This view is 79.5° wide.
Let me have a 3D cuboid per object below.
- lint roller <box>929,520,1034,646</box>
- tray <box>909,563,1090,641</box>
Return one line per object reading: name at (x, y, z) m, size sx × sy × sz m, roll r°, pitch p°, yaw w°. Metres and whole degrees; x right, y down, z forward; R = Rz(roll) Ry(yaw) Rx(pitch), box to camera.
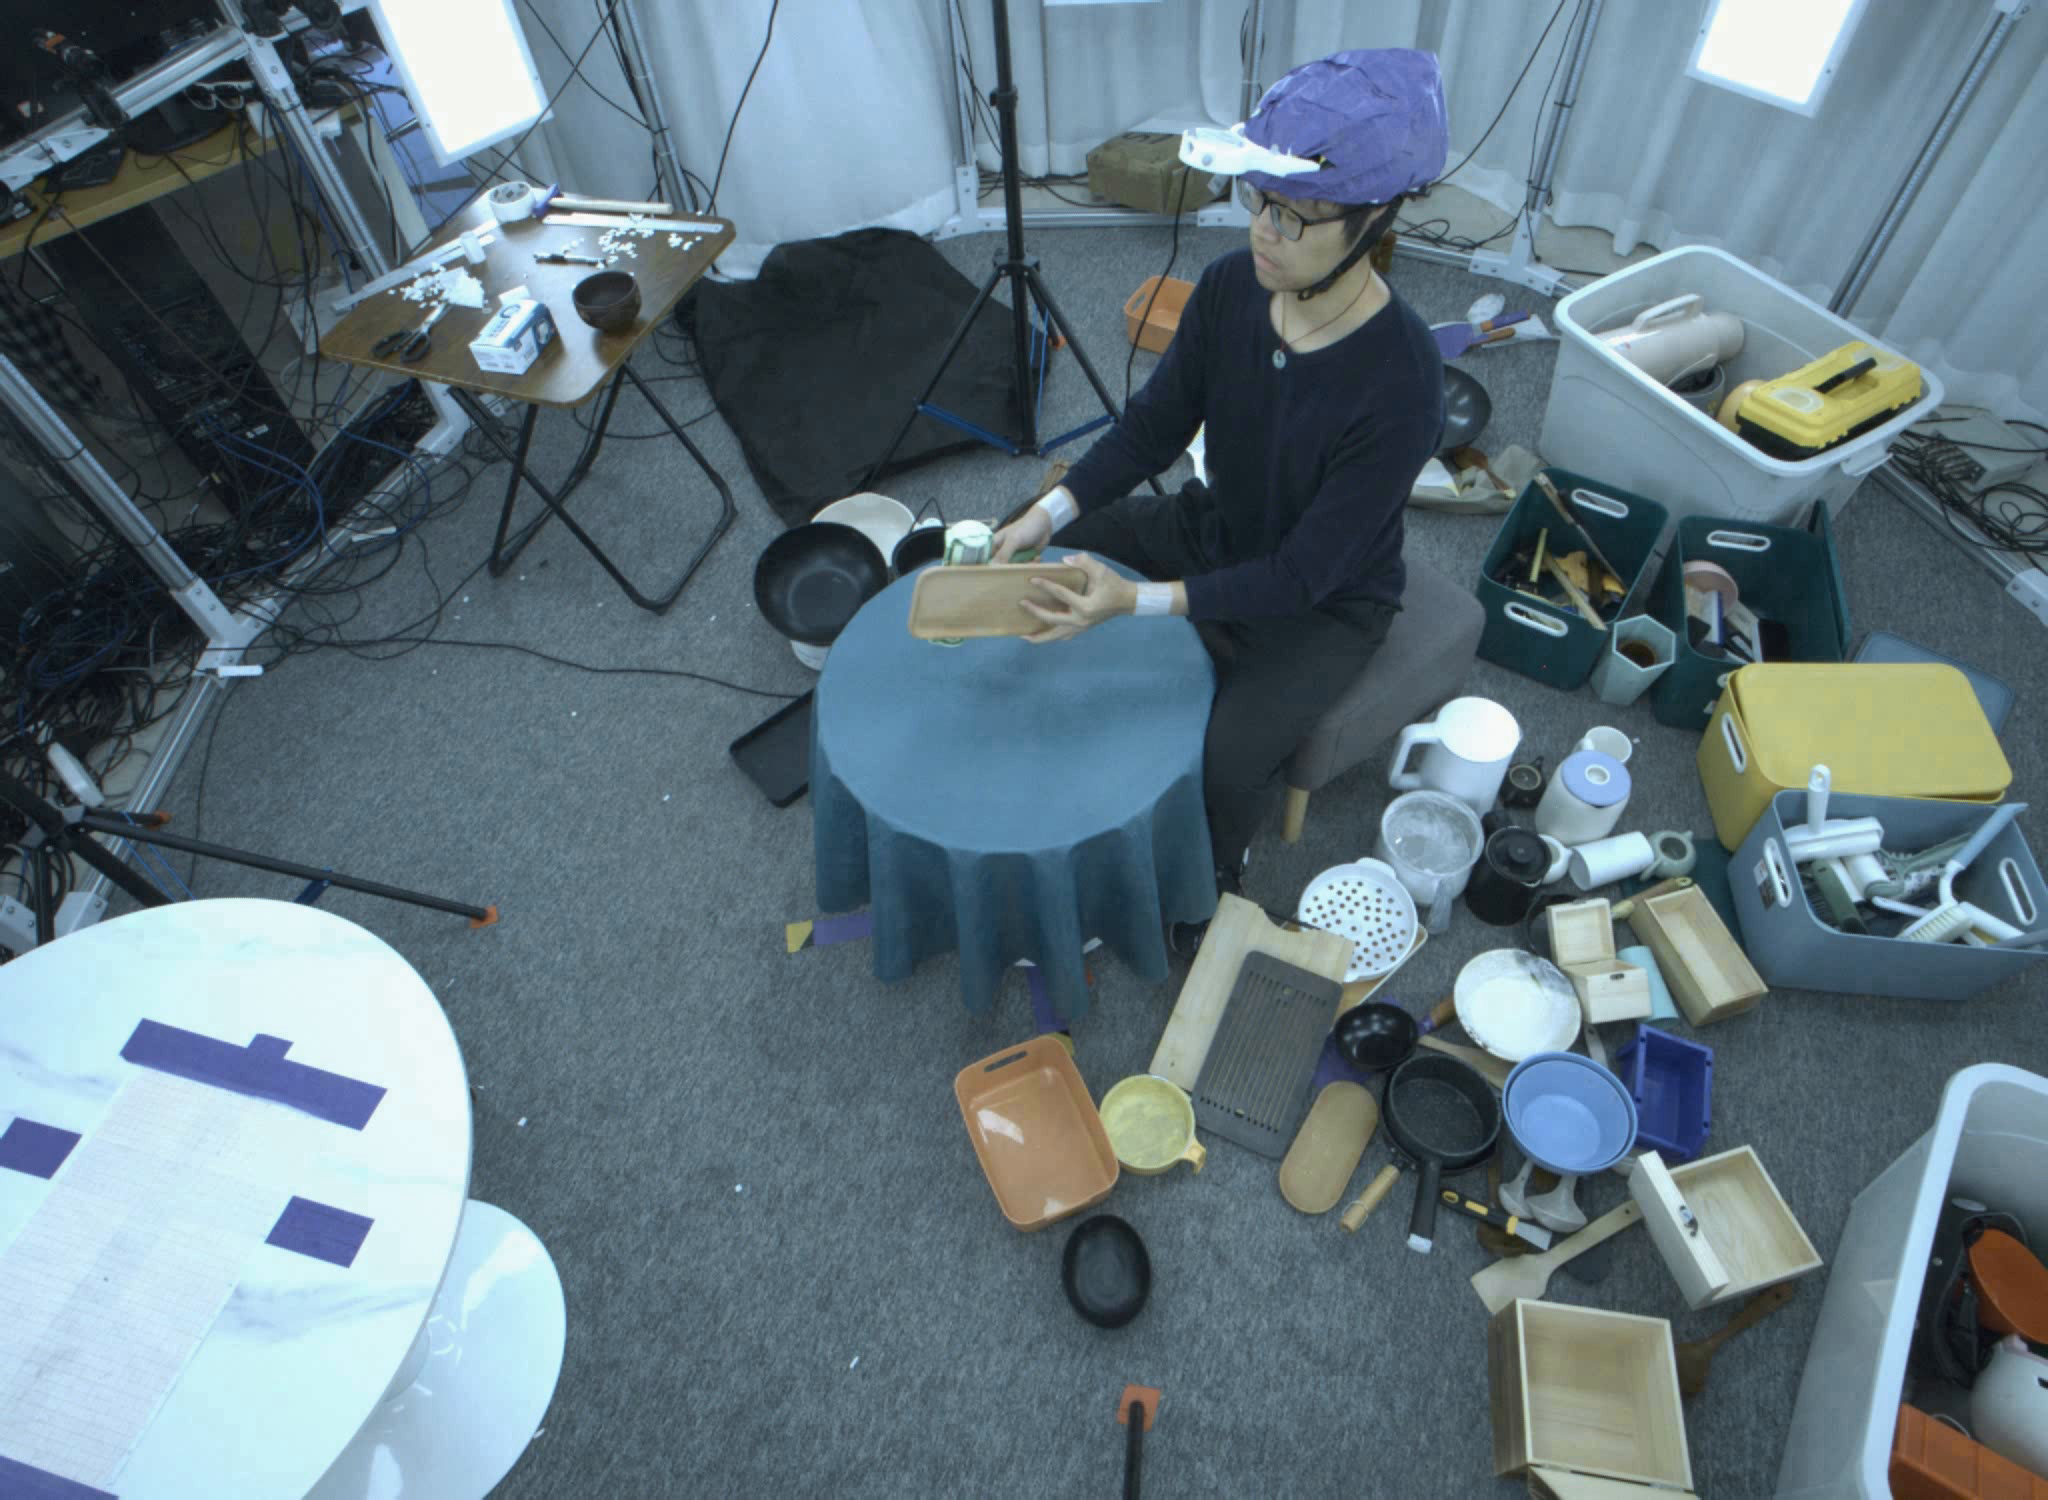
lint roller at (-0.065, -0.263, 1.748) m, size 0.081 × 0.199 × 0.185 m, roll 33°, pitch 48°, yaw 14°
tray at (-0.034, -0.207, 1.705) m, size 0.254 × 0.131 × 0.022 m, roll -5°, pitch 52°, yaw -22°
